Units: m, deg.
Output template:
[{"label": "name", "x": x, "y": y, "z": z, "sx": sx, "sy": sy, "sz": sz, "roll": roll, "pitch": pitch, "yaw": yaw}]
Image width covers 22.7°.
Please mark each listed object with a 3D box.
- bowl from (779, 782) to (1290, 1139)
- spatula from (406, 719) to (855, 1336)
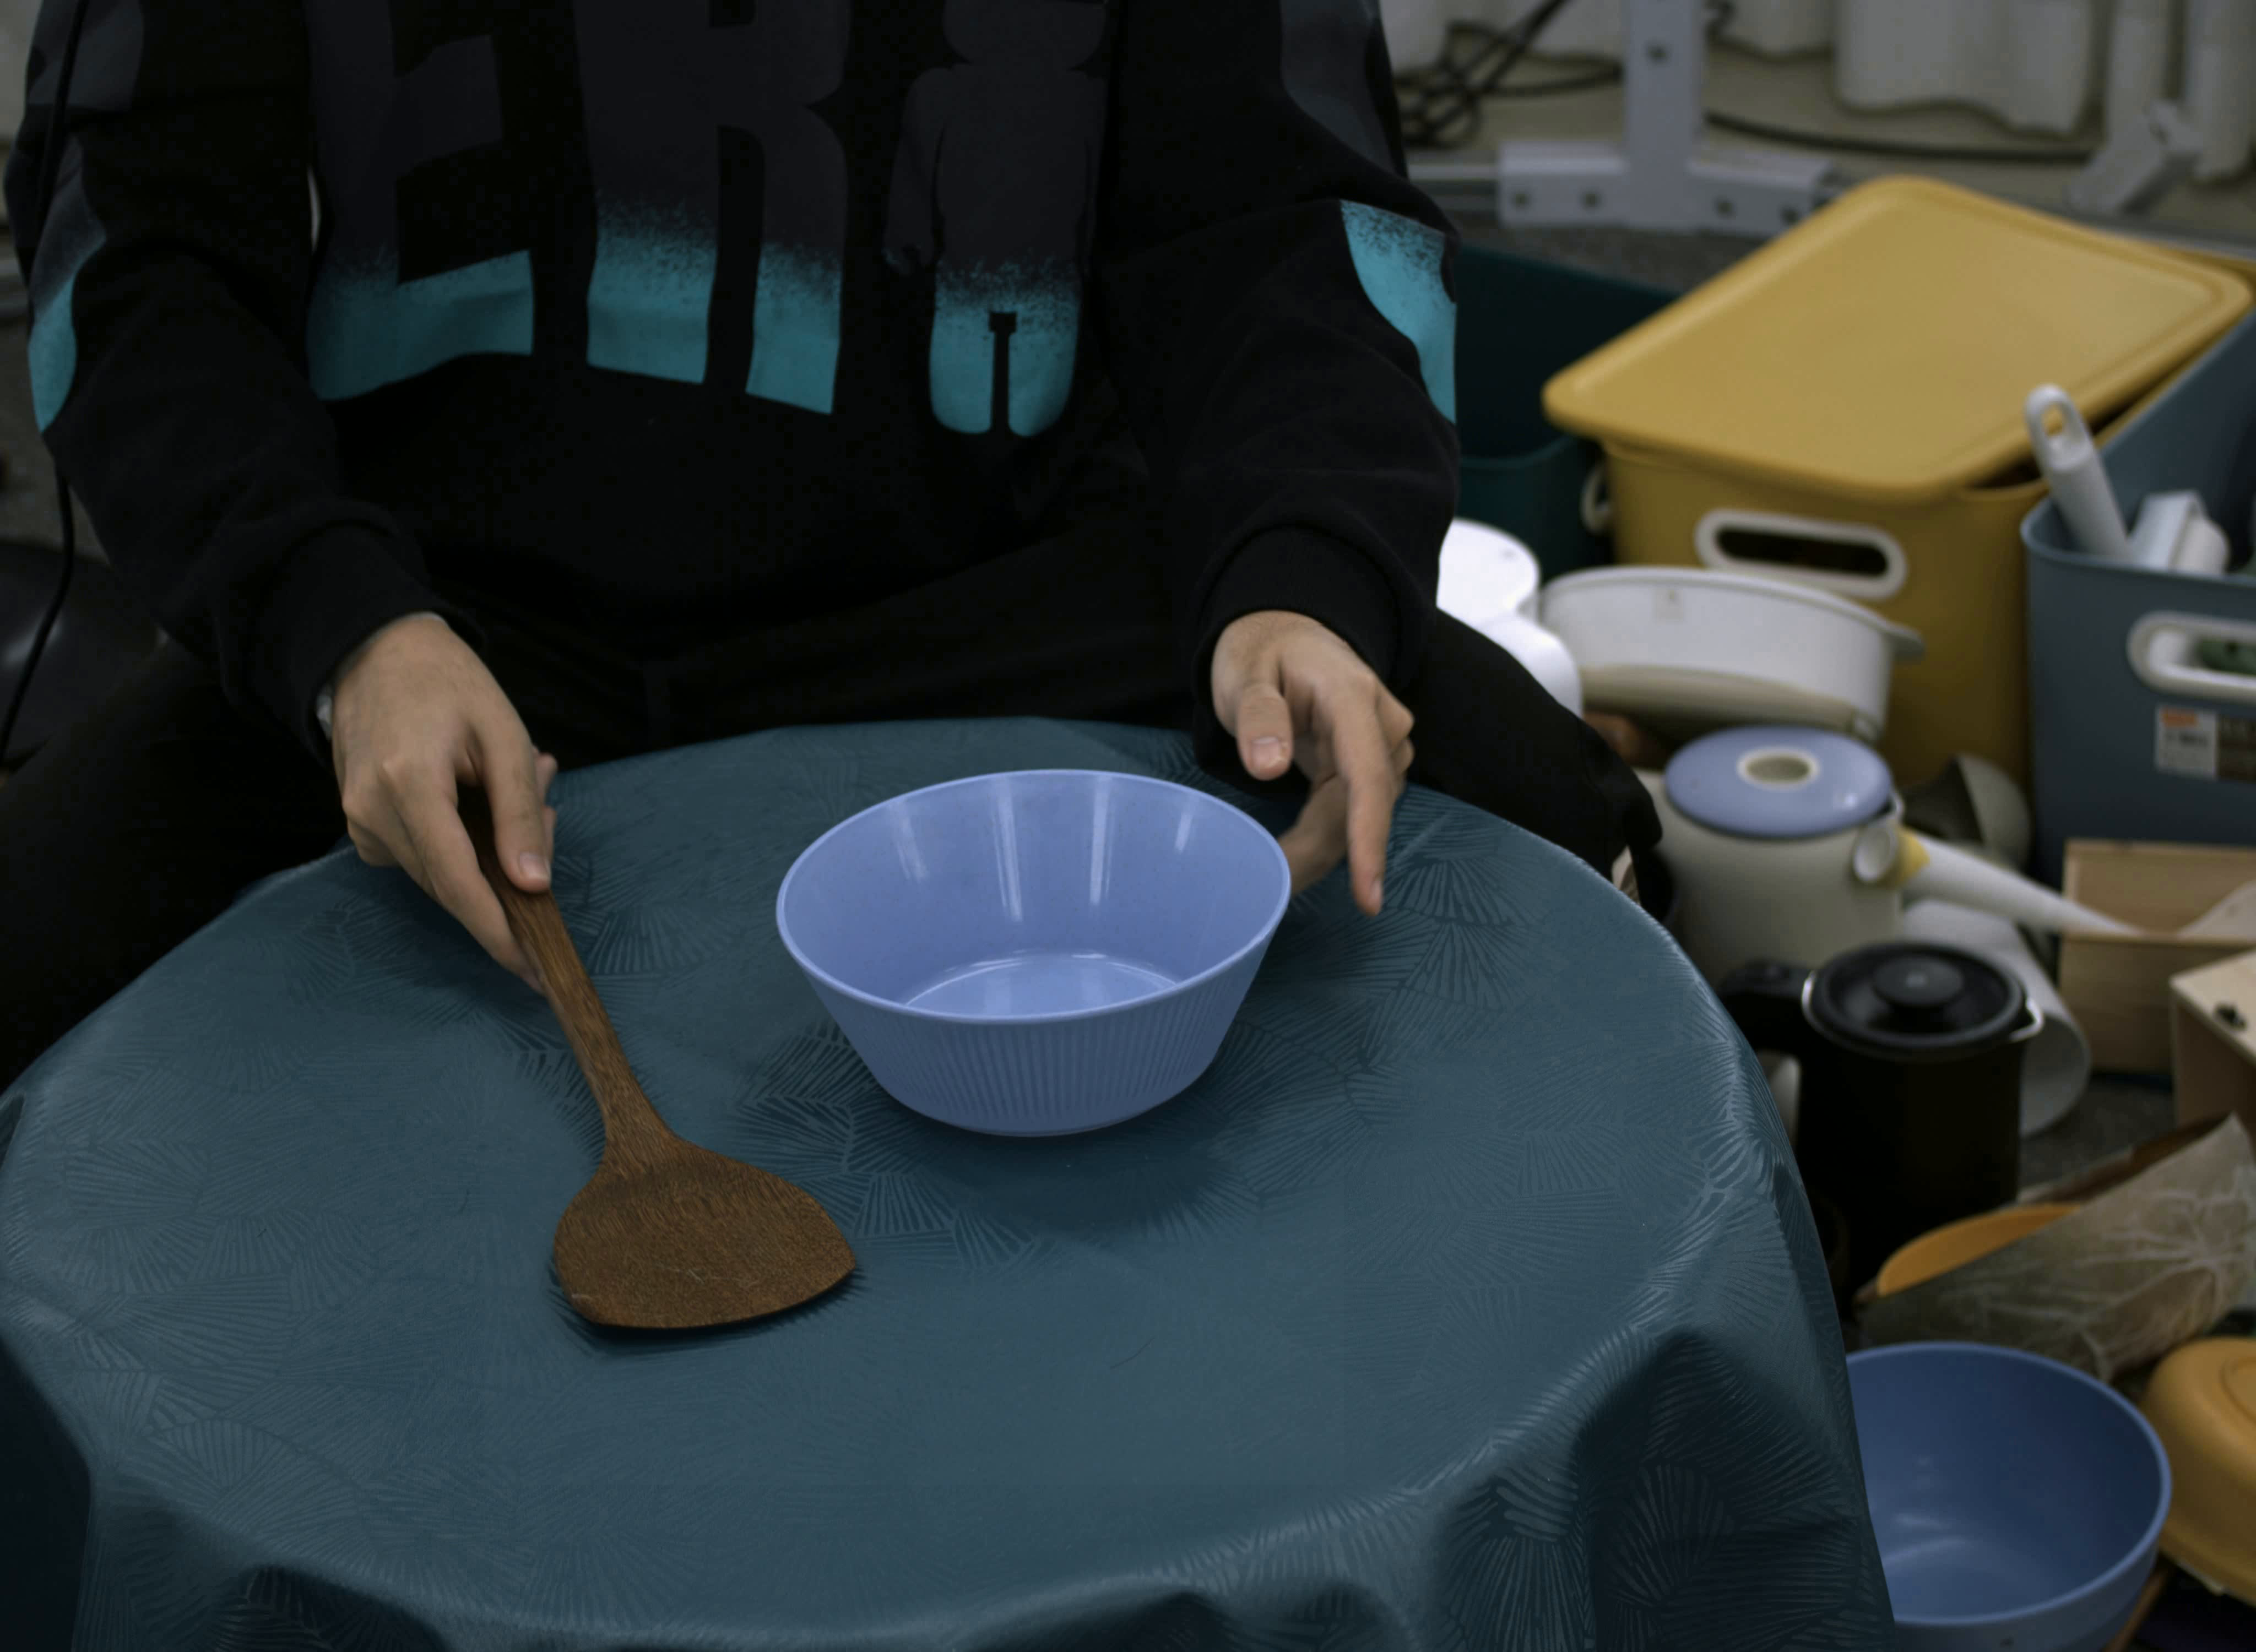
[{"label": "bowl", "x": -0.030, "y": 0.052, "z": 1.926, "sx": 0.175, "sy": 0.069, "sz": 0.178, "roll": -3, "pitch": 26, "yaw": 2}, {"label": "spatula", "x": -0.192, "y": 0.060, "z": 1.947, "sx": 0.096, "sy": 0.015, "sz": 0.390, "roll": -9, "pitch": 35, "yaw": -18}]
